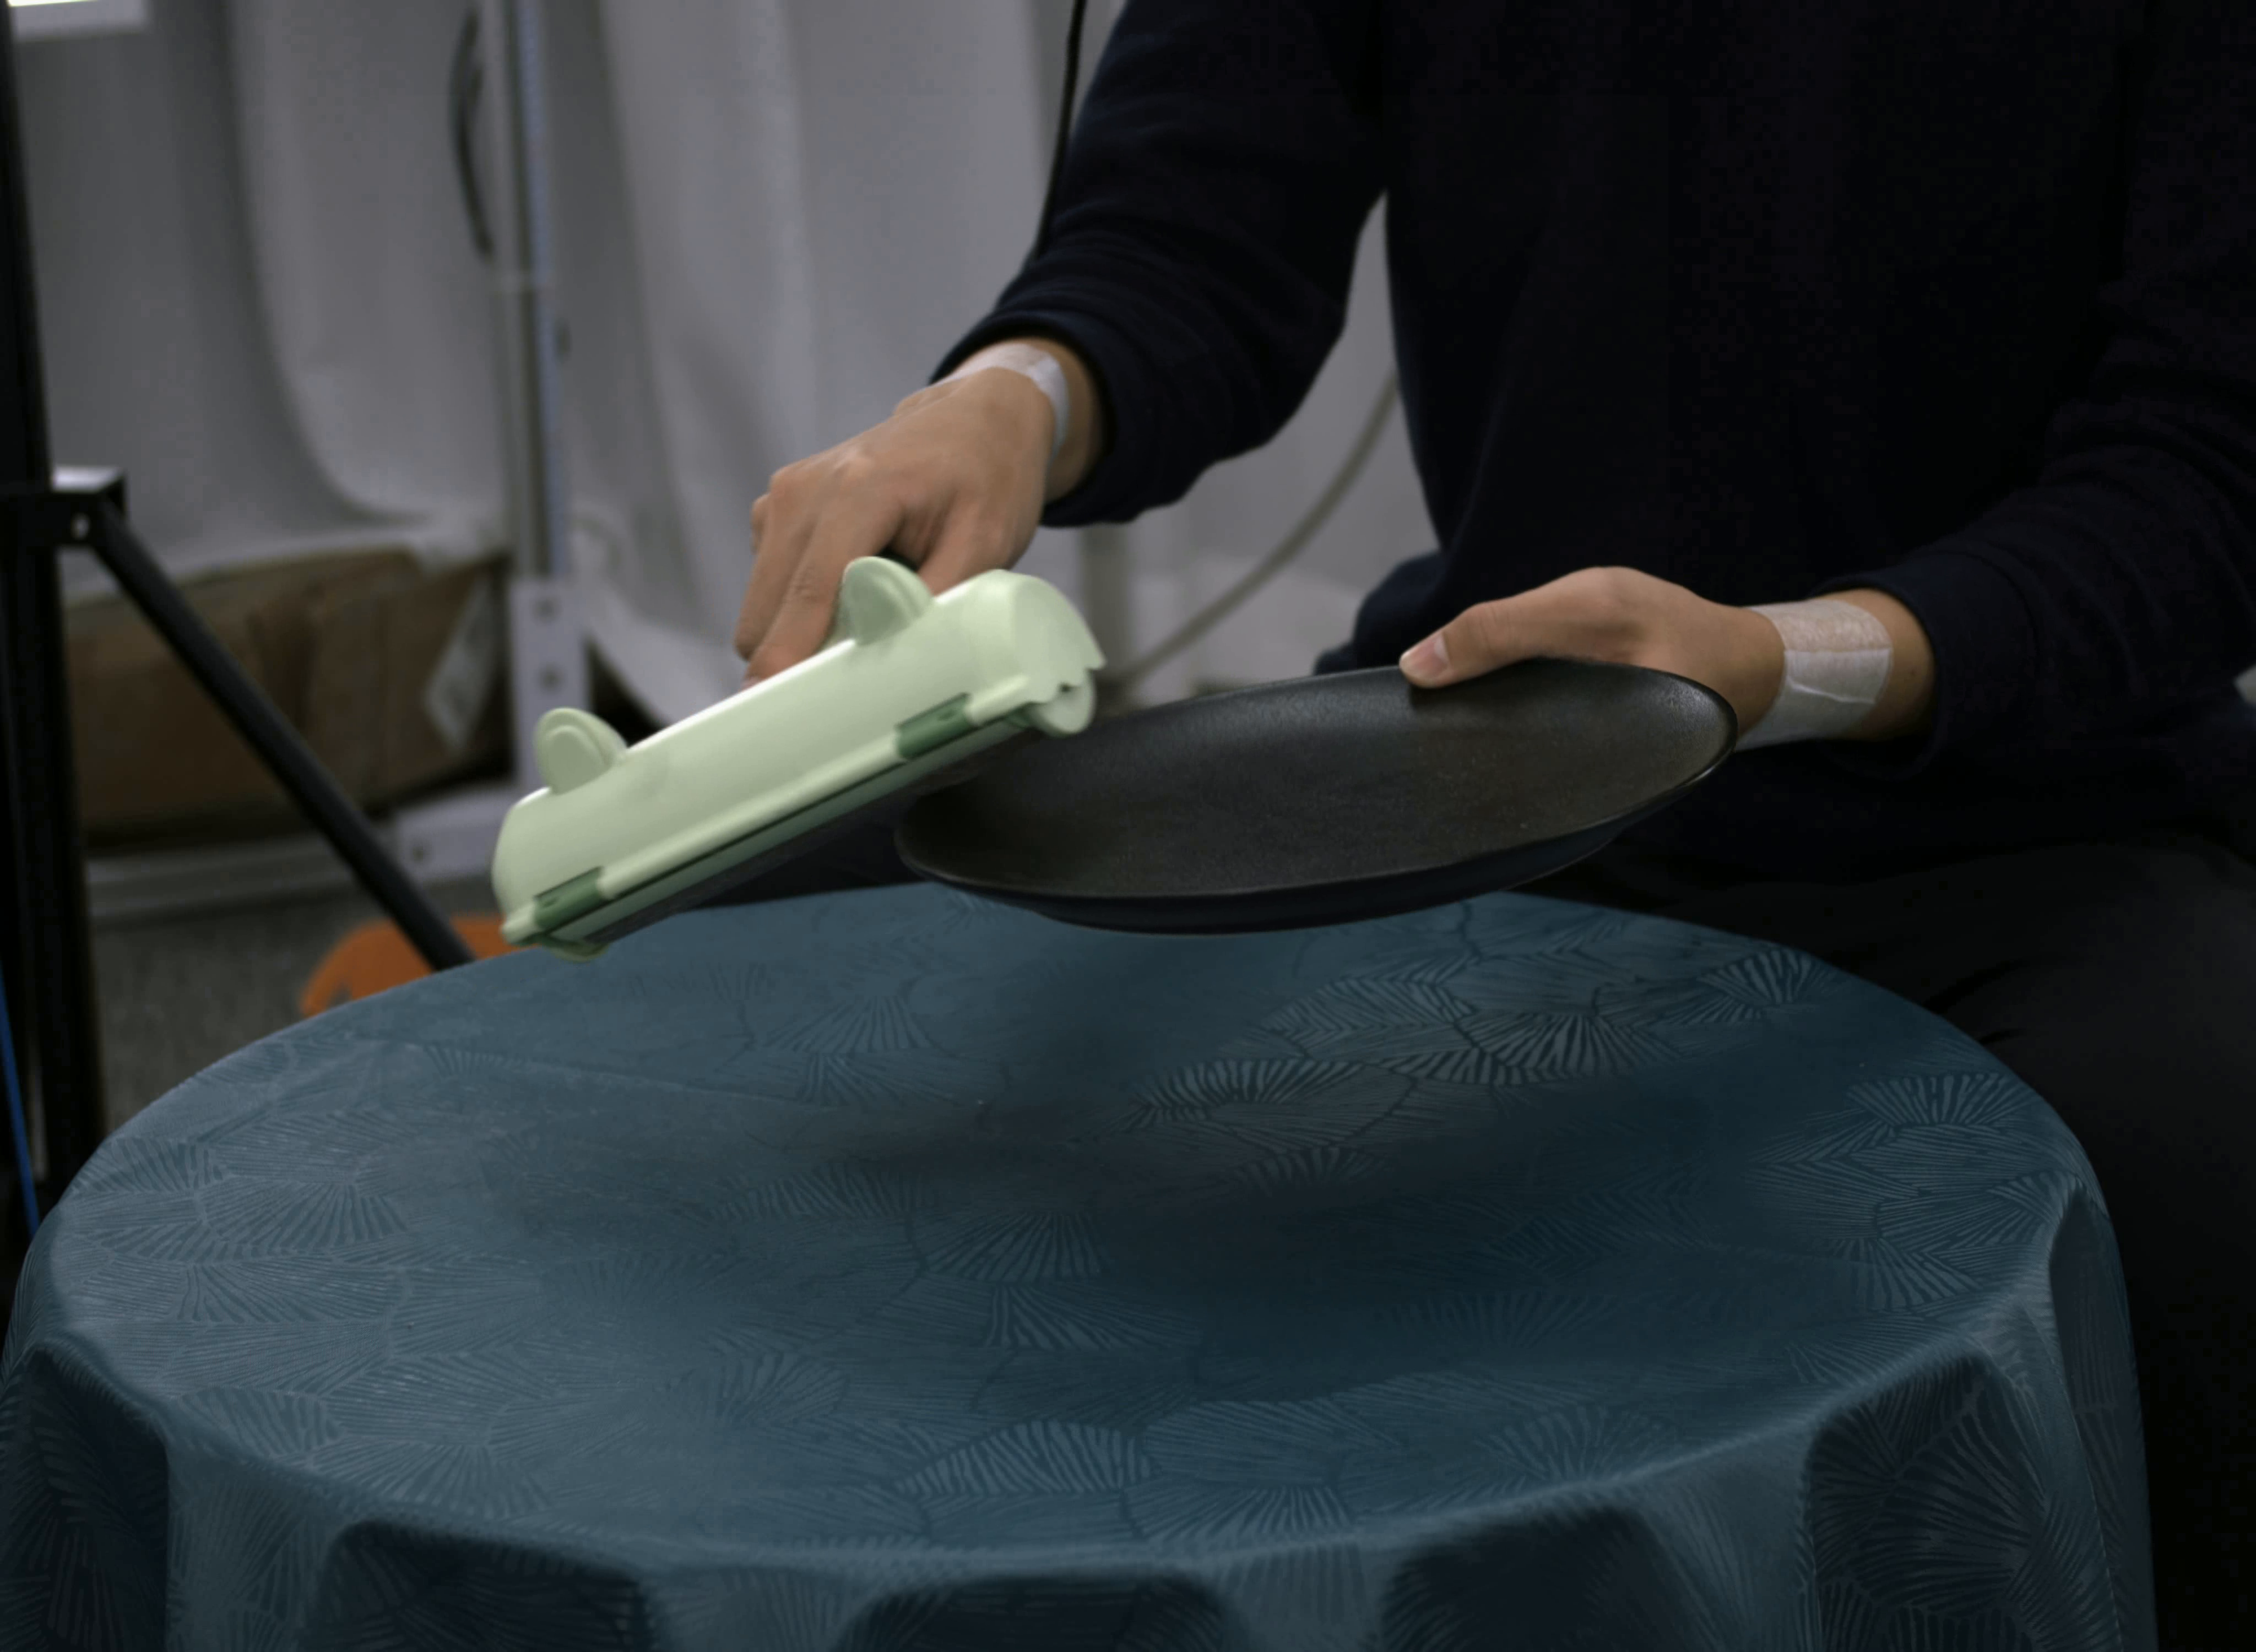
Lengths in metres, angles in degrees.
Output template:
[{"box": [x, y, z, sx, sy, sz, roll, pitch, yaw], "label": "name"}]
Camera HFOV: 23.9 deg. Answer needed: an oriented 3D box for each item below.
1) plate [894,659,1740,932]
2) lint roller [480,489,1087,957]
[{"box": [0.055, -0.007, 1.517, 0.243, 0.023, 0.245, -8, 14, 1], "label": "plate"}, {"box": [-0.103, -0.060, 1.613, 0.201, 0.080, 0.184, -25, 35, 27], "label": "lint roller"}]
